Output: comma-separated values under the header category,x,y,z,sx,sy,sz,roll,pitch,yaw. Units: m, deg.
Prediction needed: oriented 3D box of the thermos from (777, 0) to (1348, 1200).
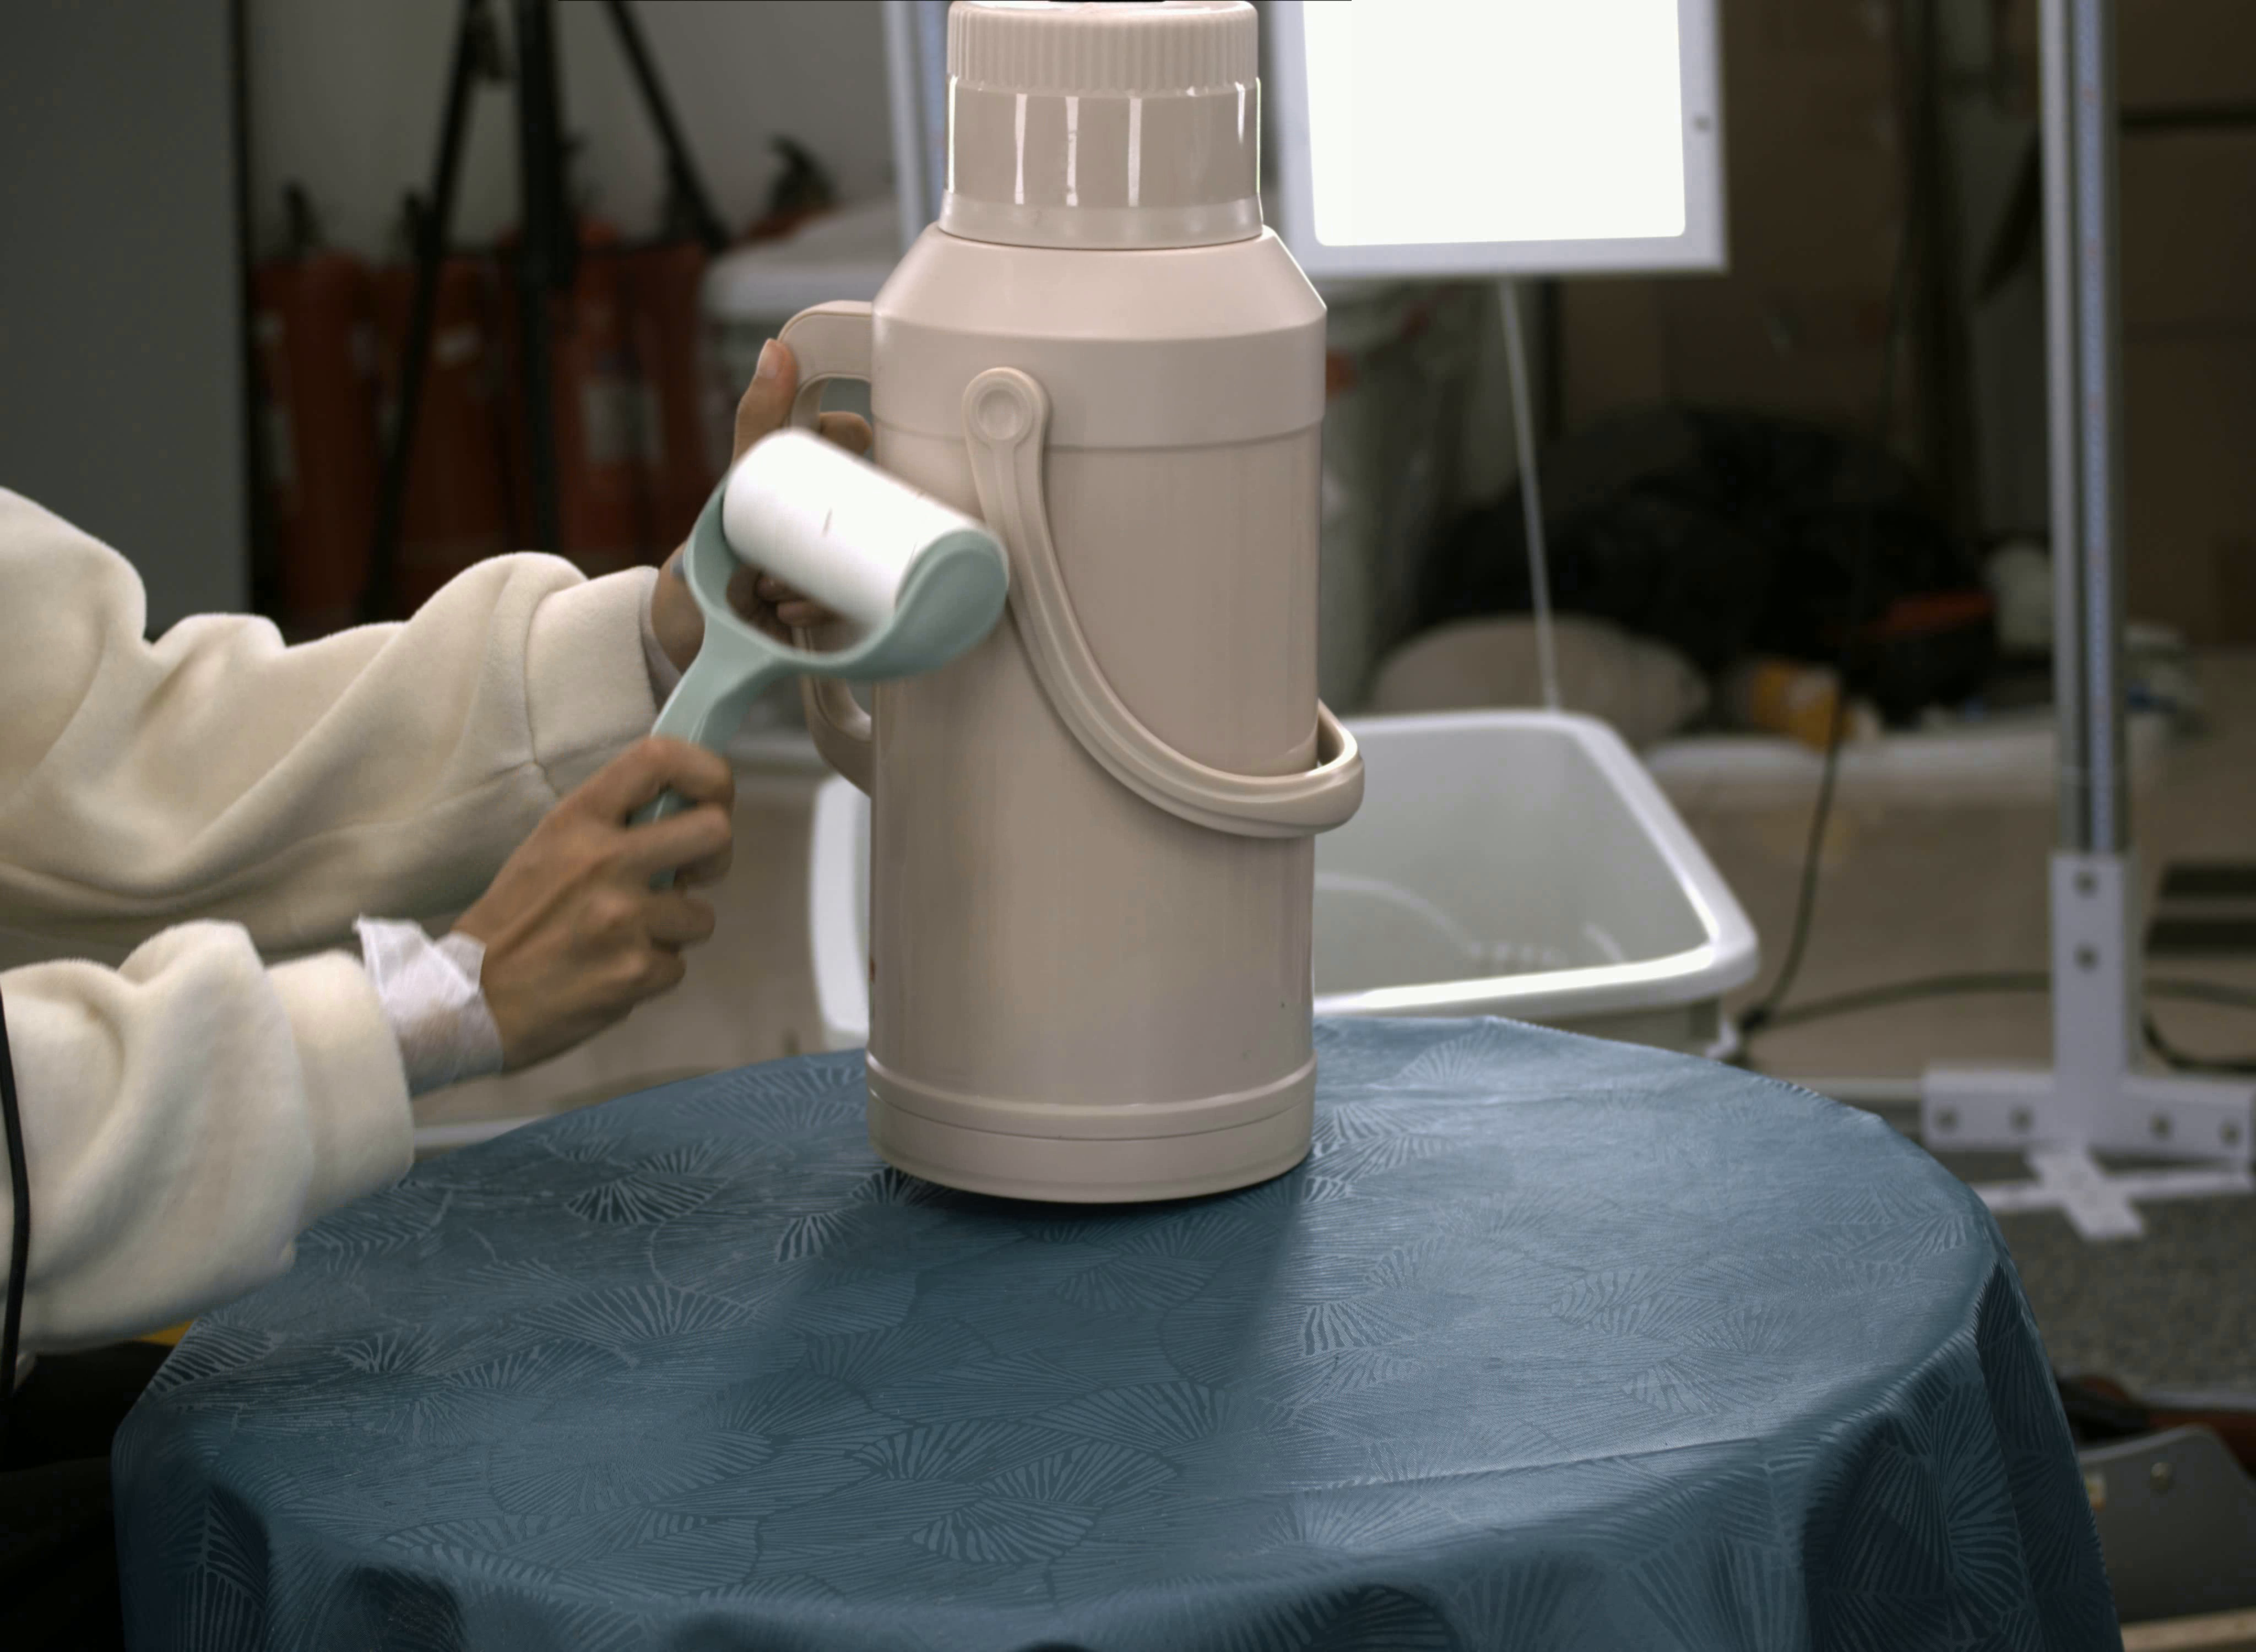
category,x,y,z,sx,sy,sz,roll,pitch,yaw
thermos,-0.024,-0.084,1.902,0.210,0.408,0.172,6,15,22

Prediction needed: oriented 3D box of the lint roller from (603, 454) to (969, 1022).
category,x,y,z,sx,sy,sz,roll,pitch,yaw
lint roller,-0.136,-0.031,1.820,0.119,0.196,0.048,14,-18,39
